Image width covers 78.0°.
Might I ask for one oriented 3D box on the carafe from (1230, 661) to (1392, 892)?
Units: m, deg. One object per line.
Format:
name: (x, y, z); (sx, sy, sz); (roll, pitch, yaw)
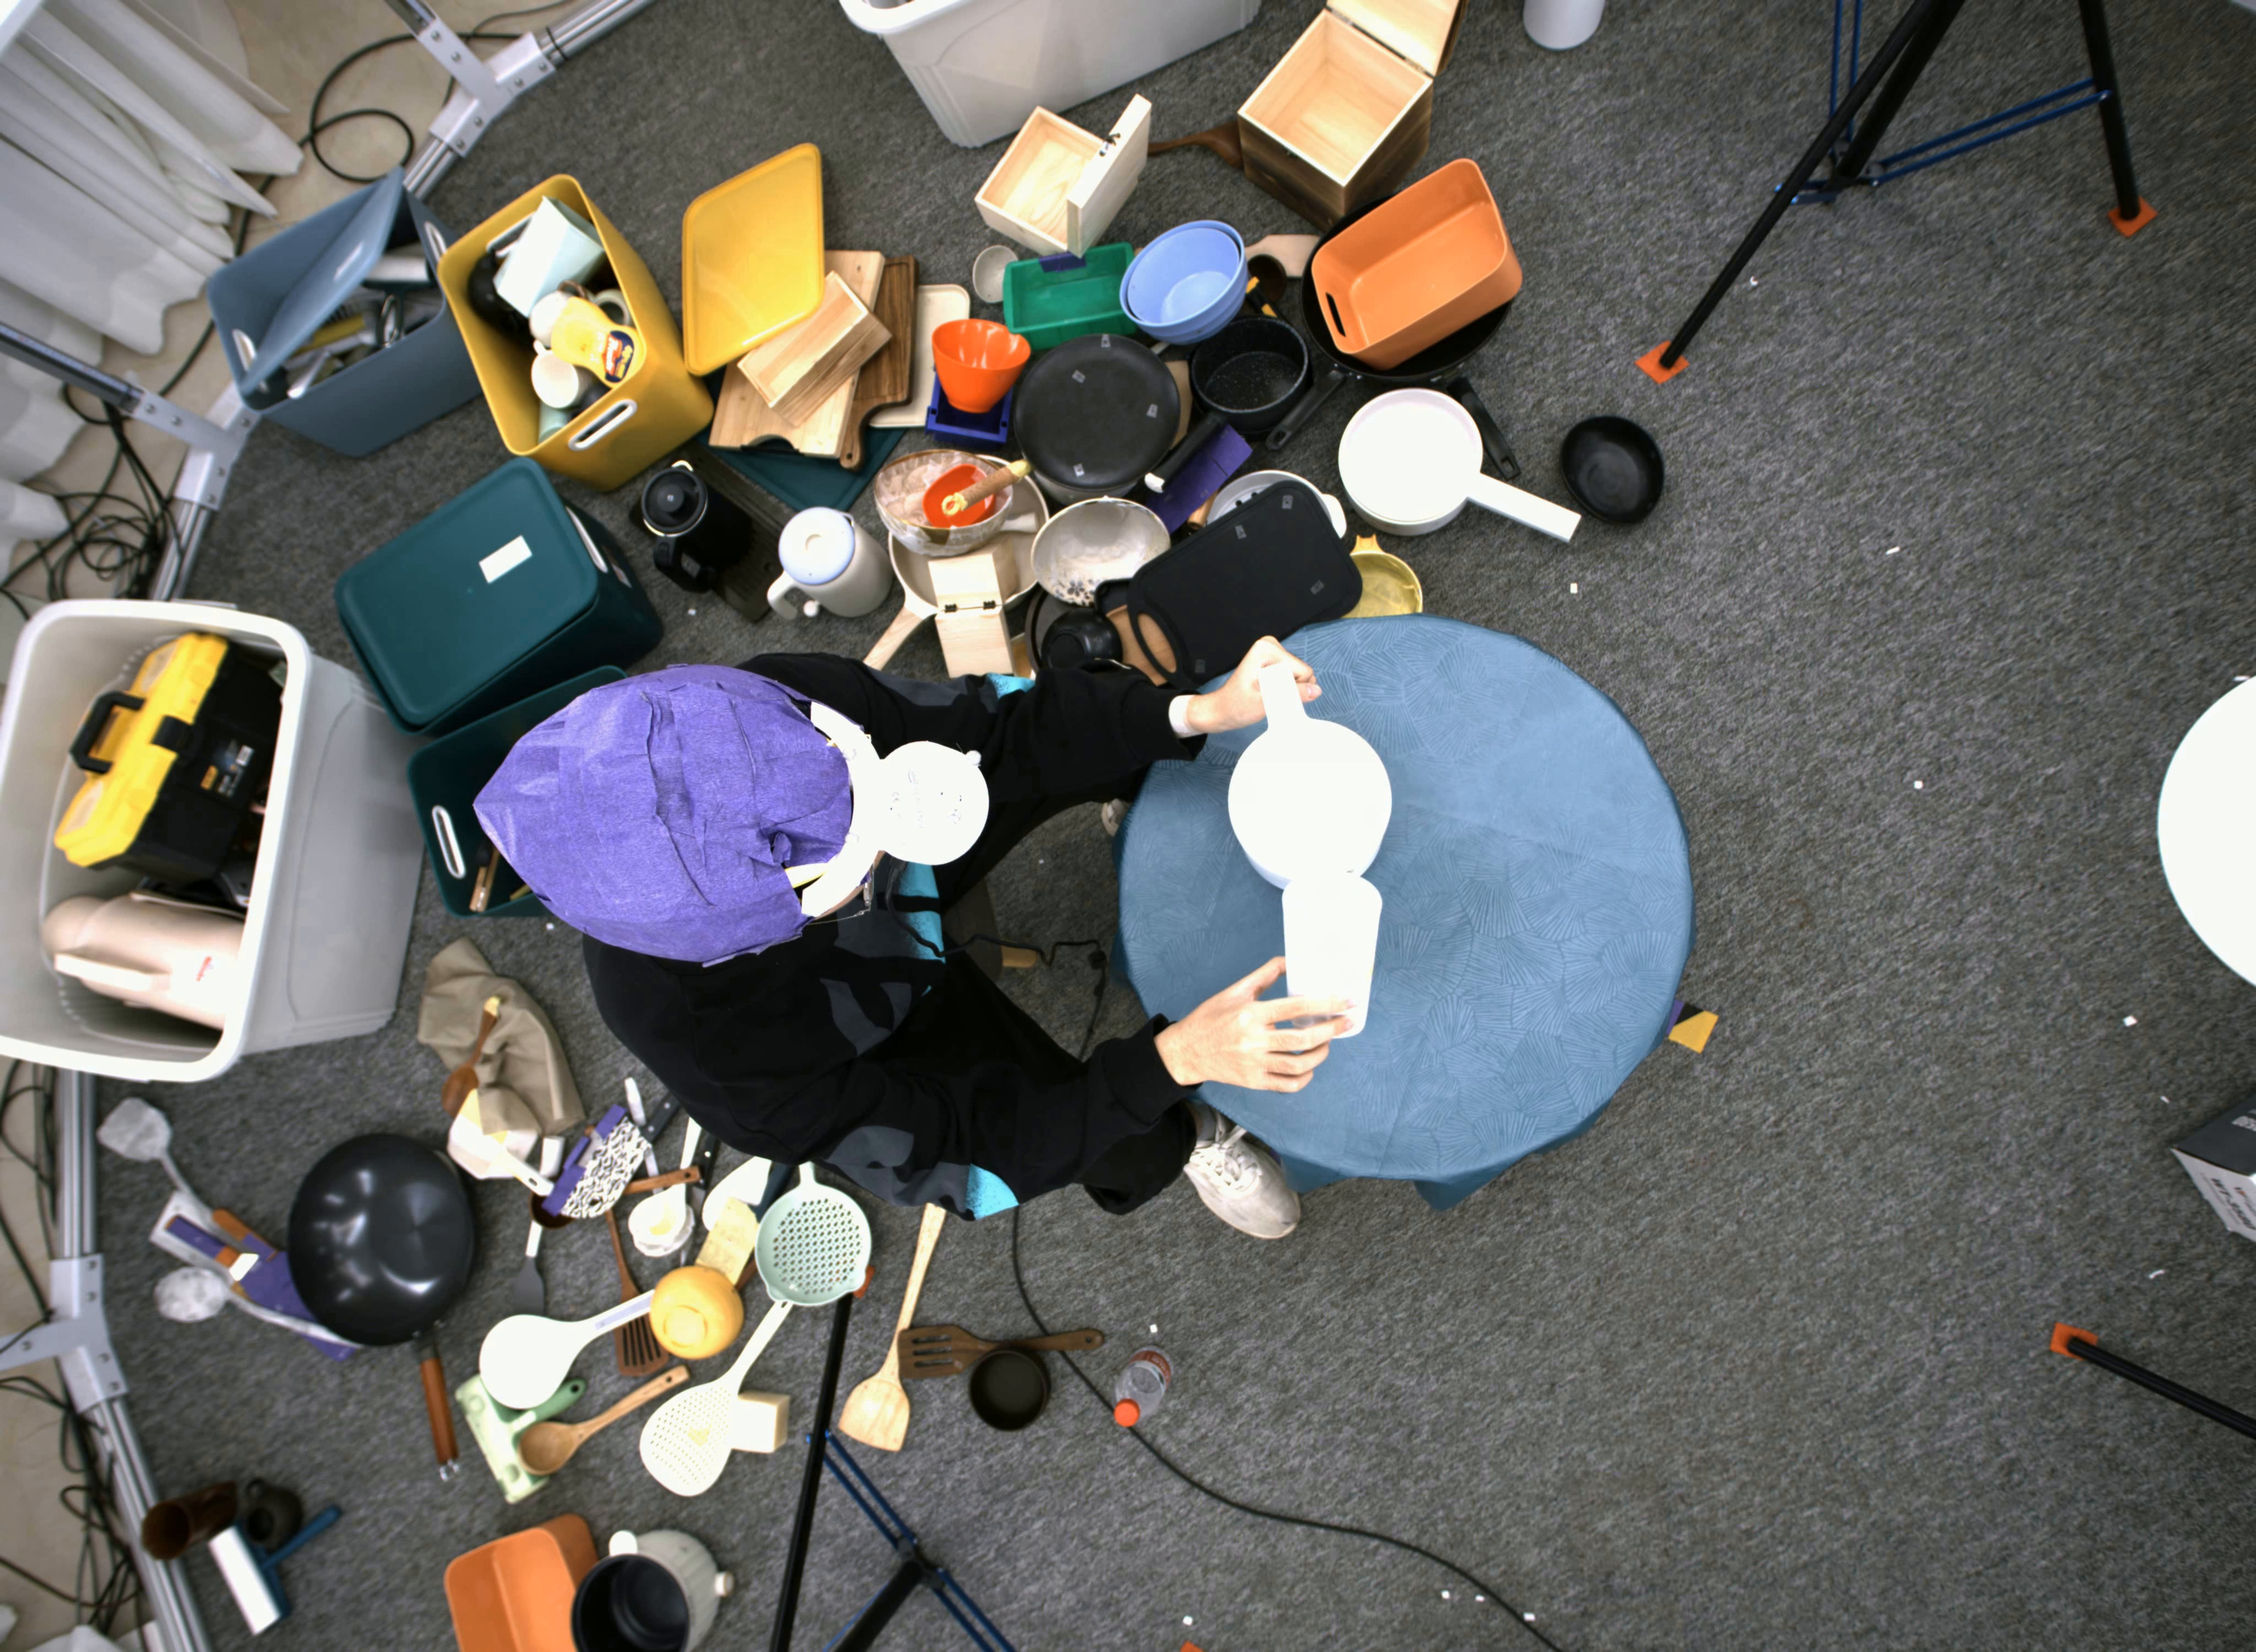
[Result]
carafe: (0.170, -0.040, 1.323); (0.153, 0.240, 0.212); (-14, 86, 6)

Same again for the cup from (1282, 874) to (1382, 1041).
cup: (0.171, 0.113, 1.170); (0.082, 0.079, 0.128); (3, 127, 10)
